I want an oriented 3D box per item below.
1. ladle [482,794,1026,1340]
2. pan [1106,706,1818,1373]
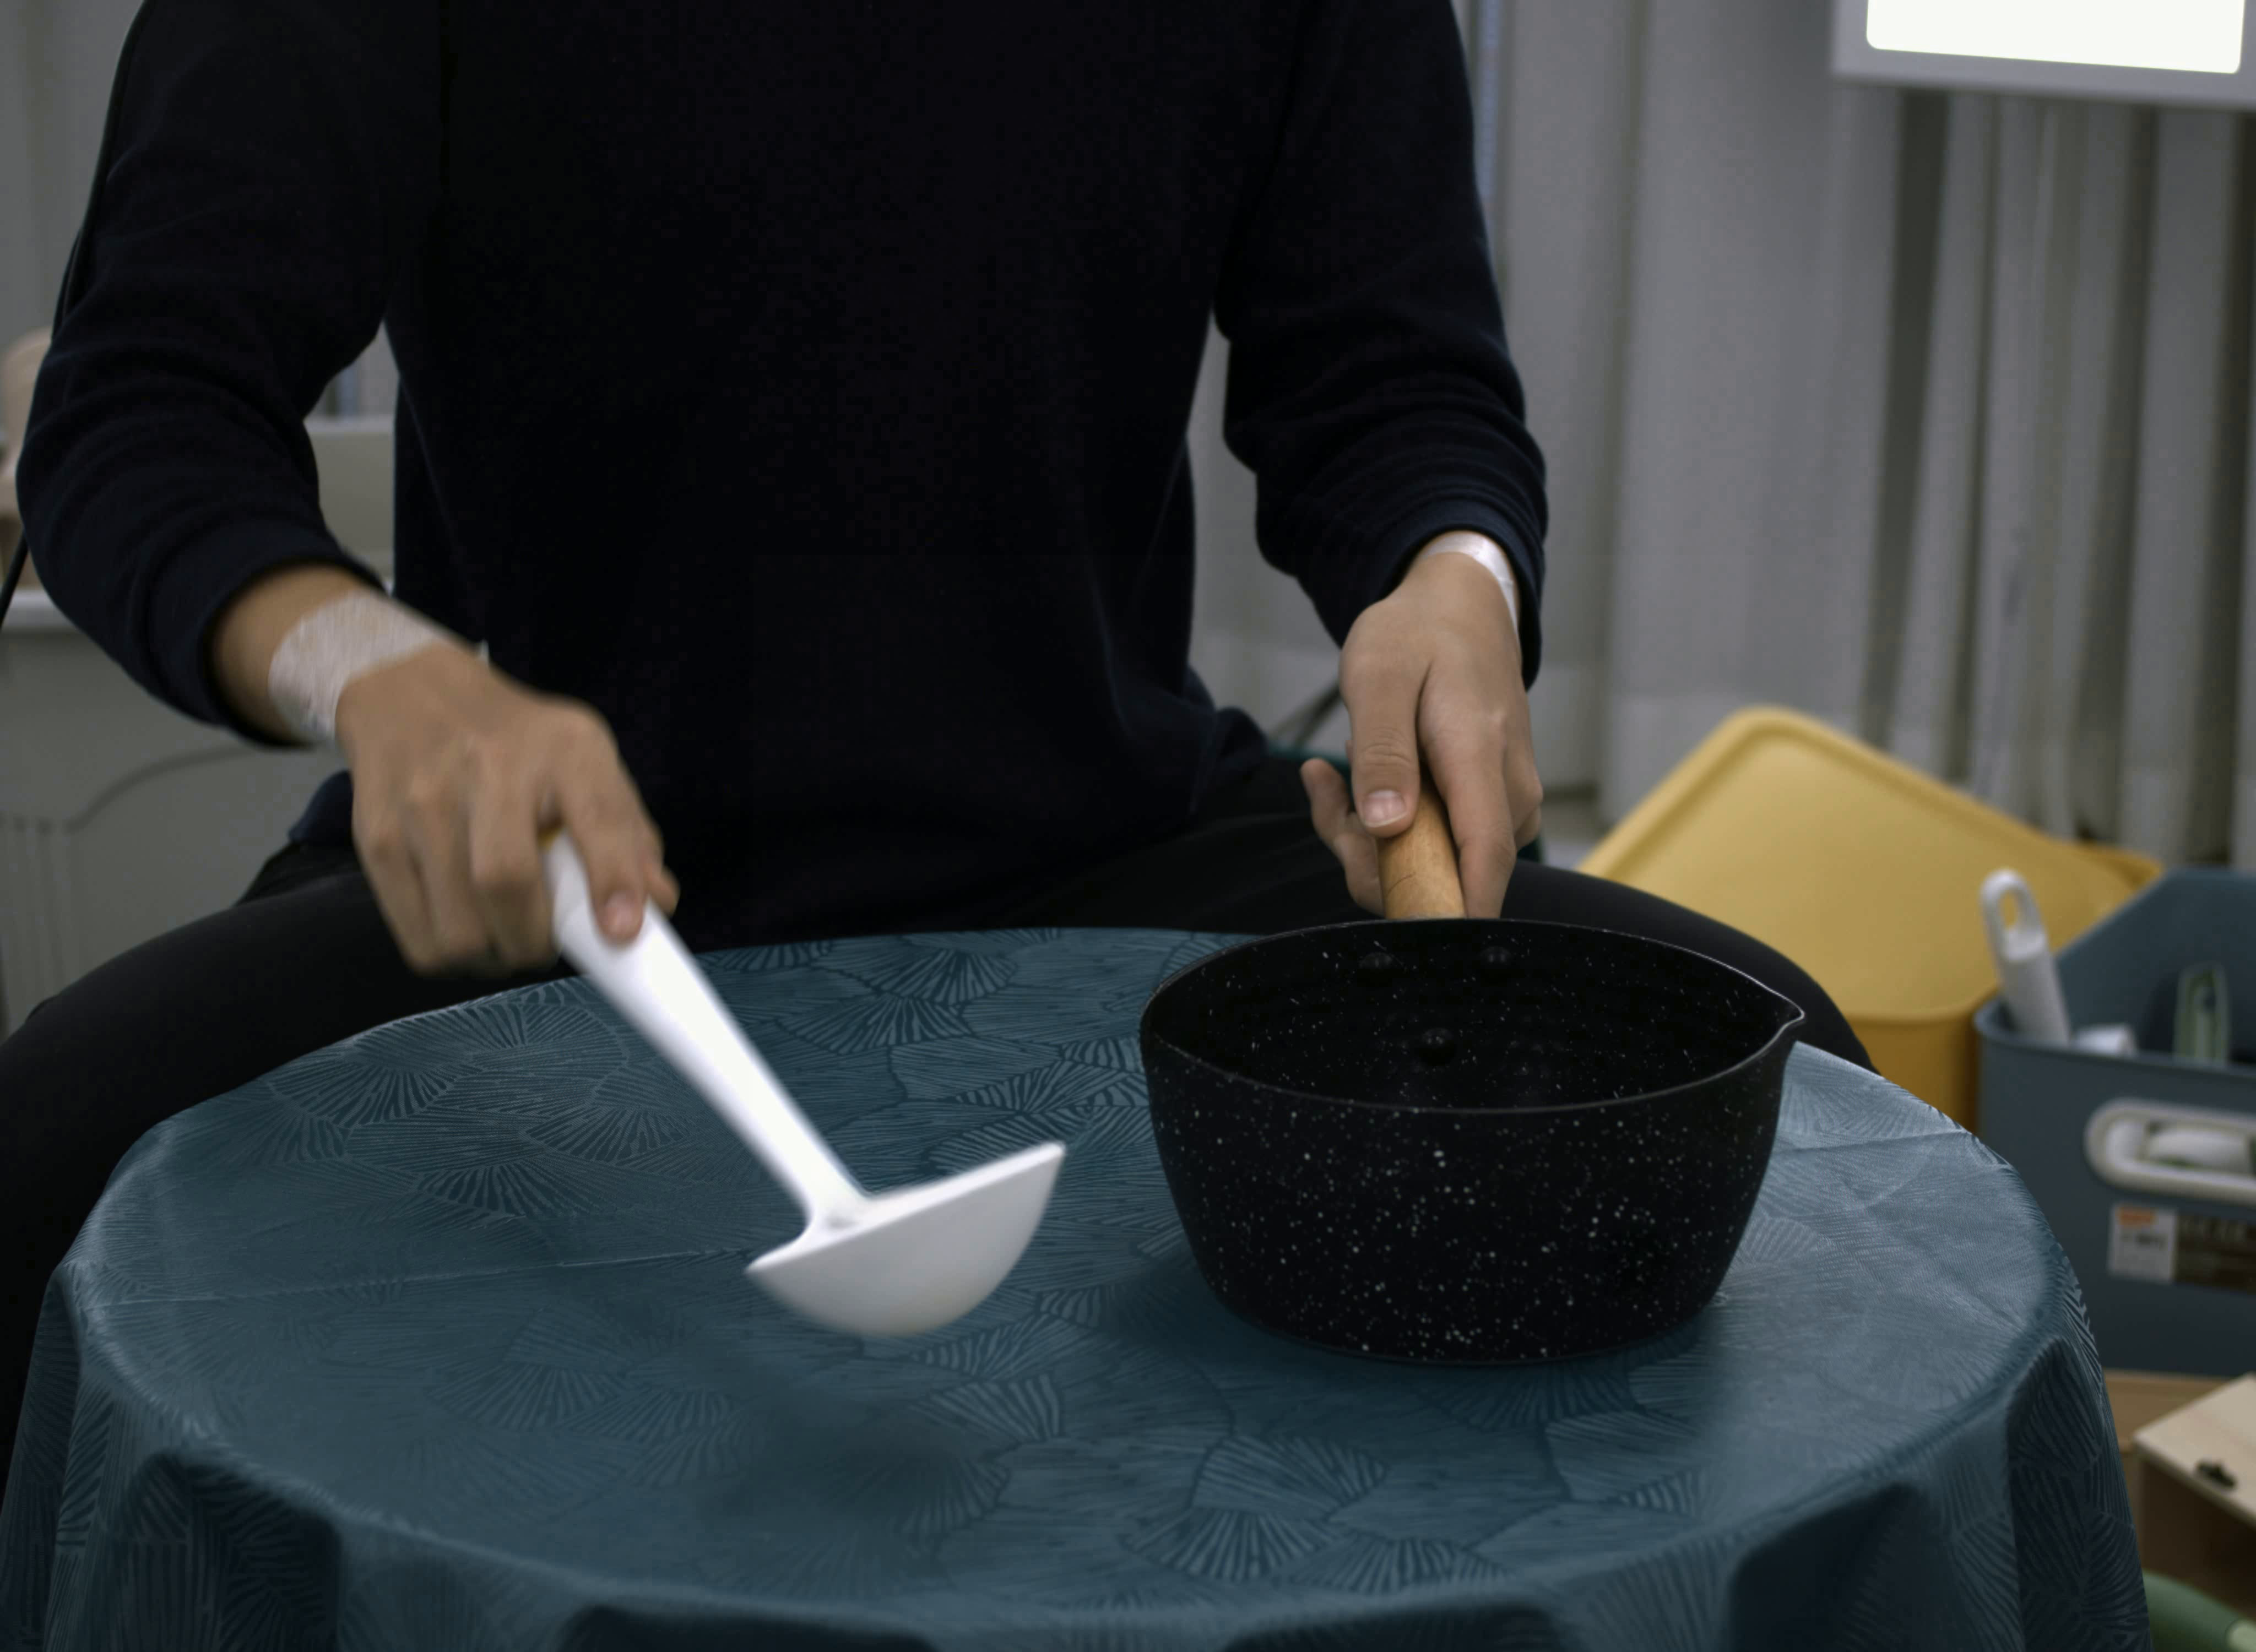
[{"bbox_3d":[-0.118,0.056,1.478,0.090,0.071,0.289,-29,40,-14],"label":"ladle"},{"bbox_3d":[0.094,0.060,1.611,0.207,0.109,0.340,-1,17,-3],"label":"pan"}]
